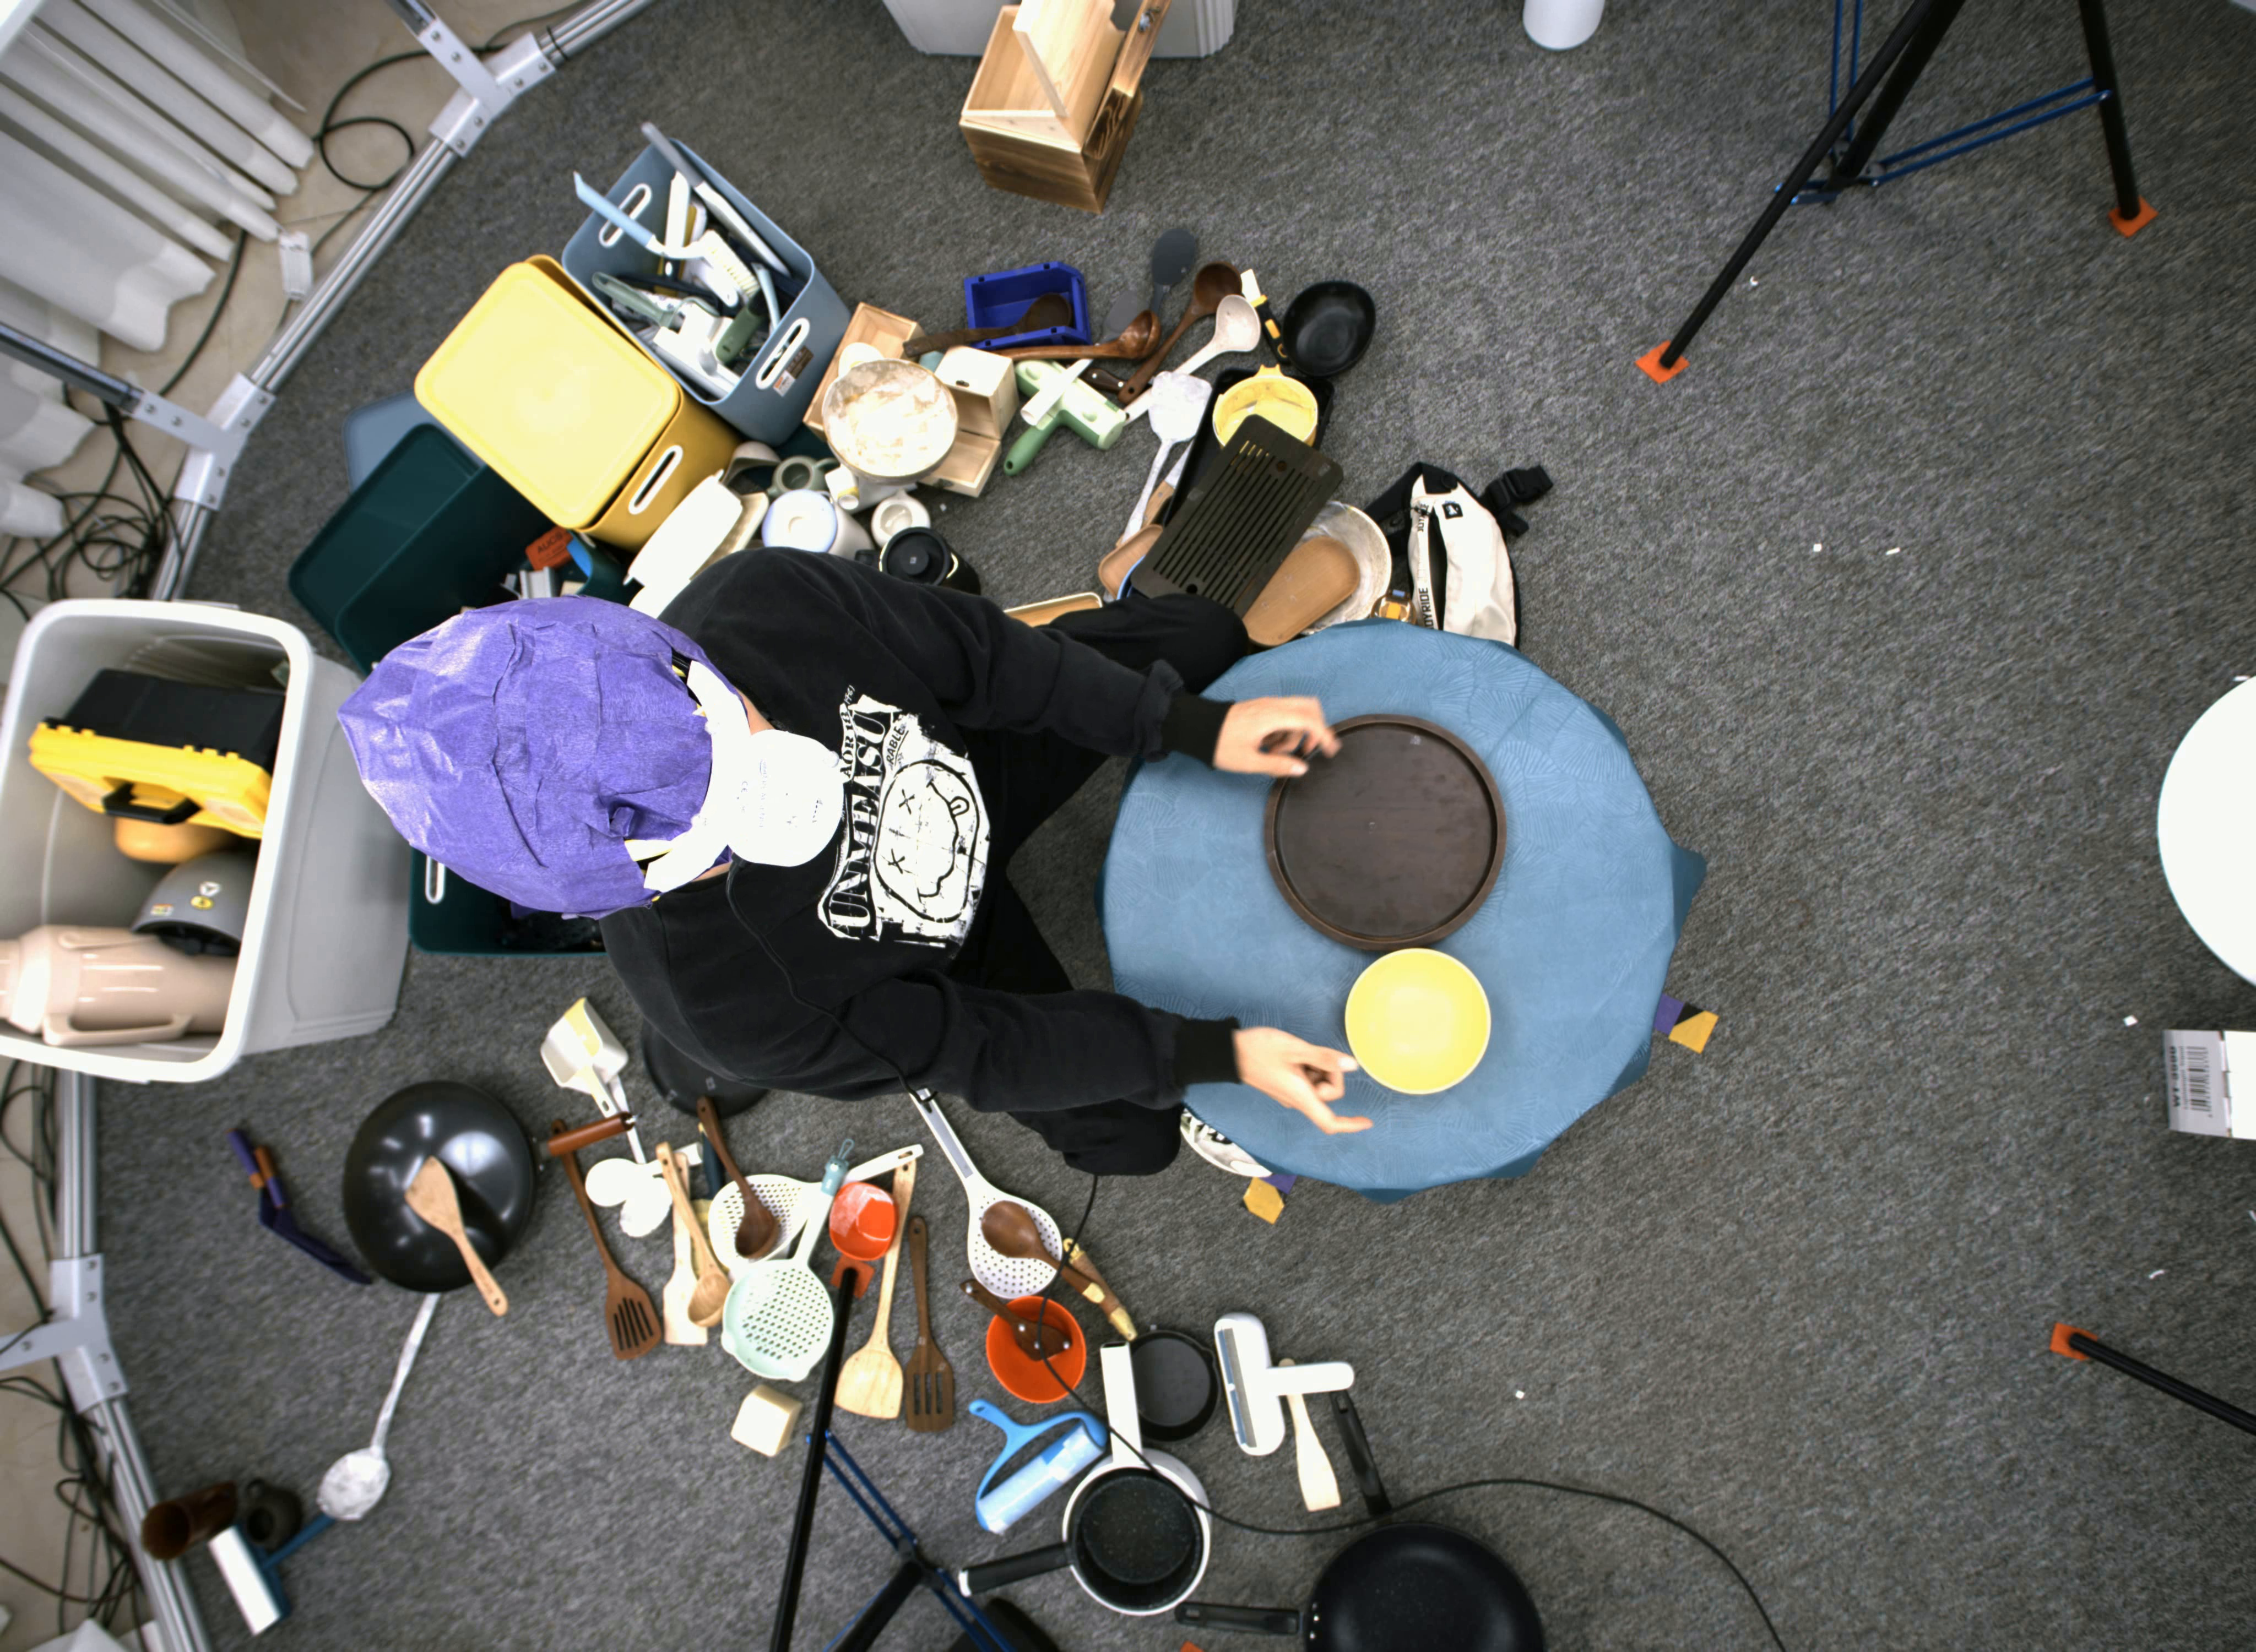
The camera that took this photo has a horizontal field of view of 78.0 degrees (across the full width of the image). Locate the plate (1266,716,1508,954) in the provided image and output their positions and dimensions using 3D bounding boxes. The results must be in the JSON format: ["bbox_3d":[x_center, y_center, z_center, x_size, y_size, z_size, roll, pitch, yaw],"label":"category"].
[{"bbox_3d":[0.272,0.008,1.457,0.256,0.029,0.254,-1,87,11],"label":"plate"}]

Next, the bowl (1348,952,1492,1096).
[{"bbox_3d":[0.300,0.202,1.422,0.146,0.060,0.144,-2,83,12],"label":"bowl"}]
